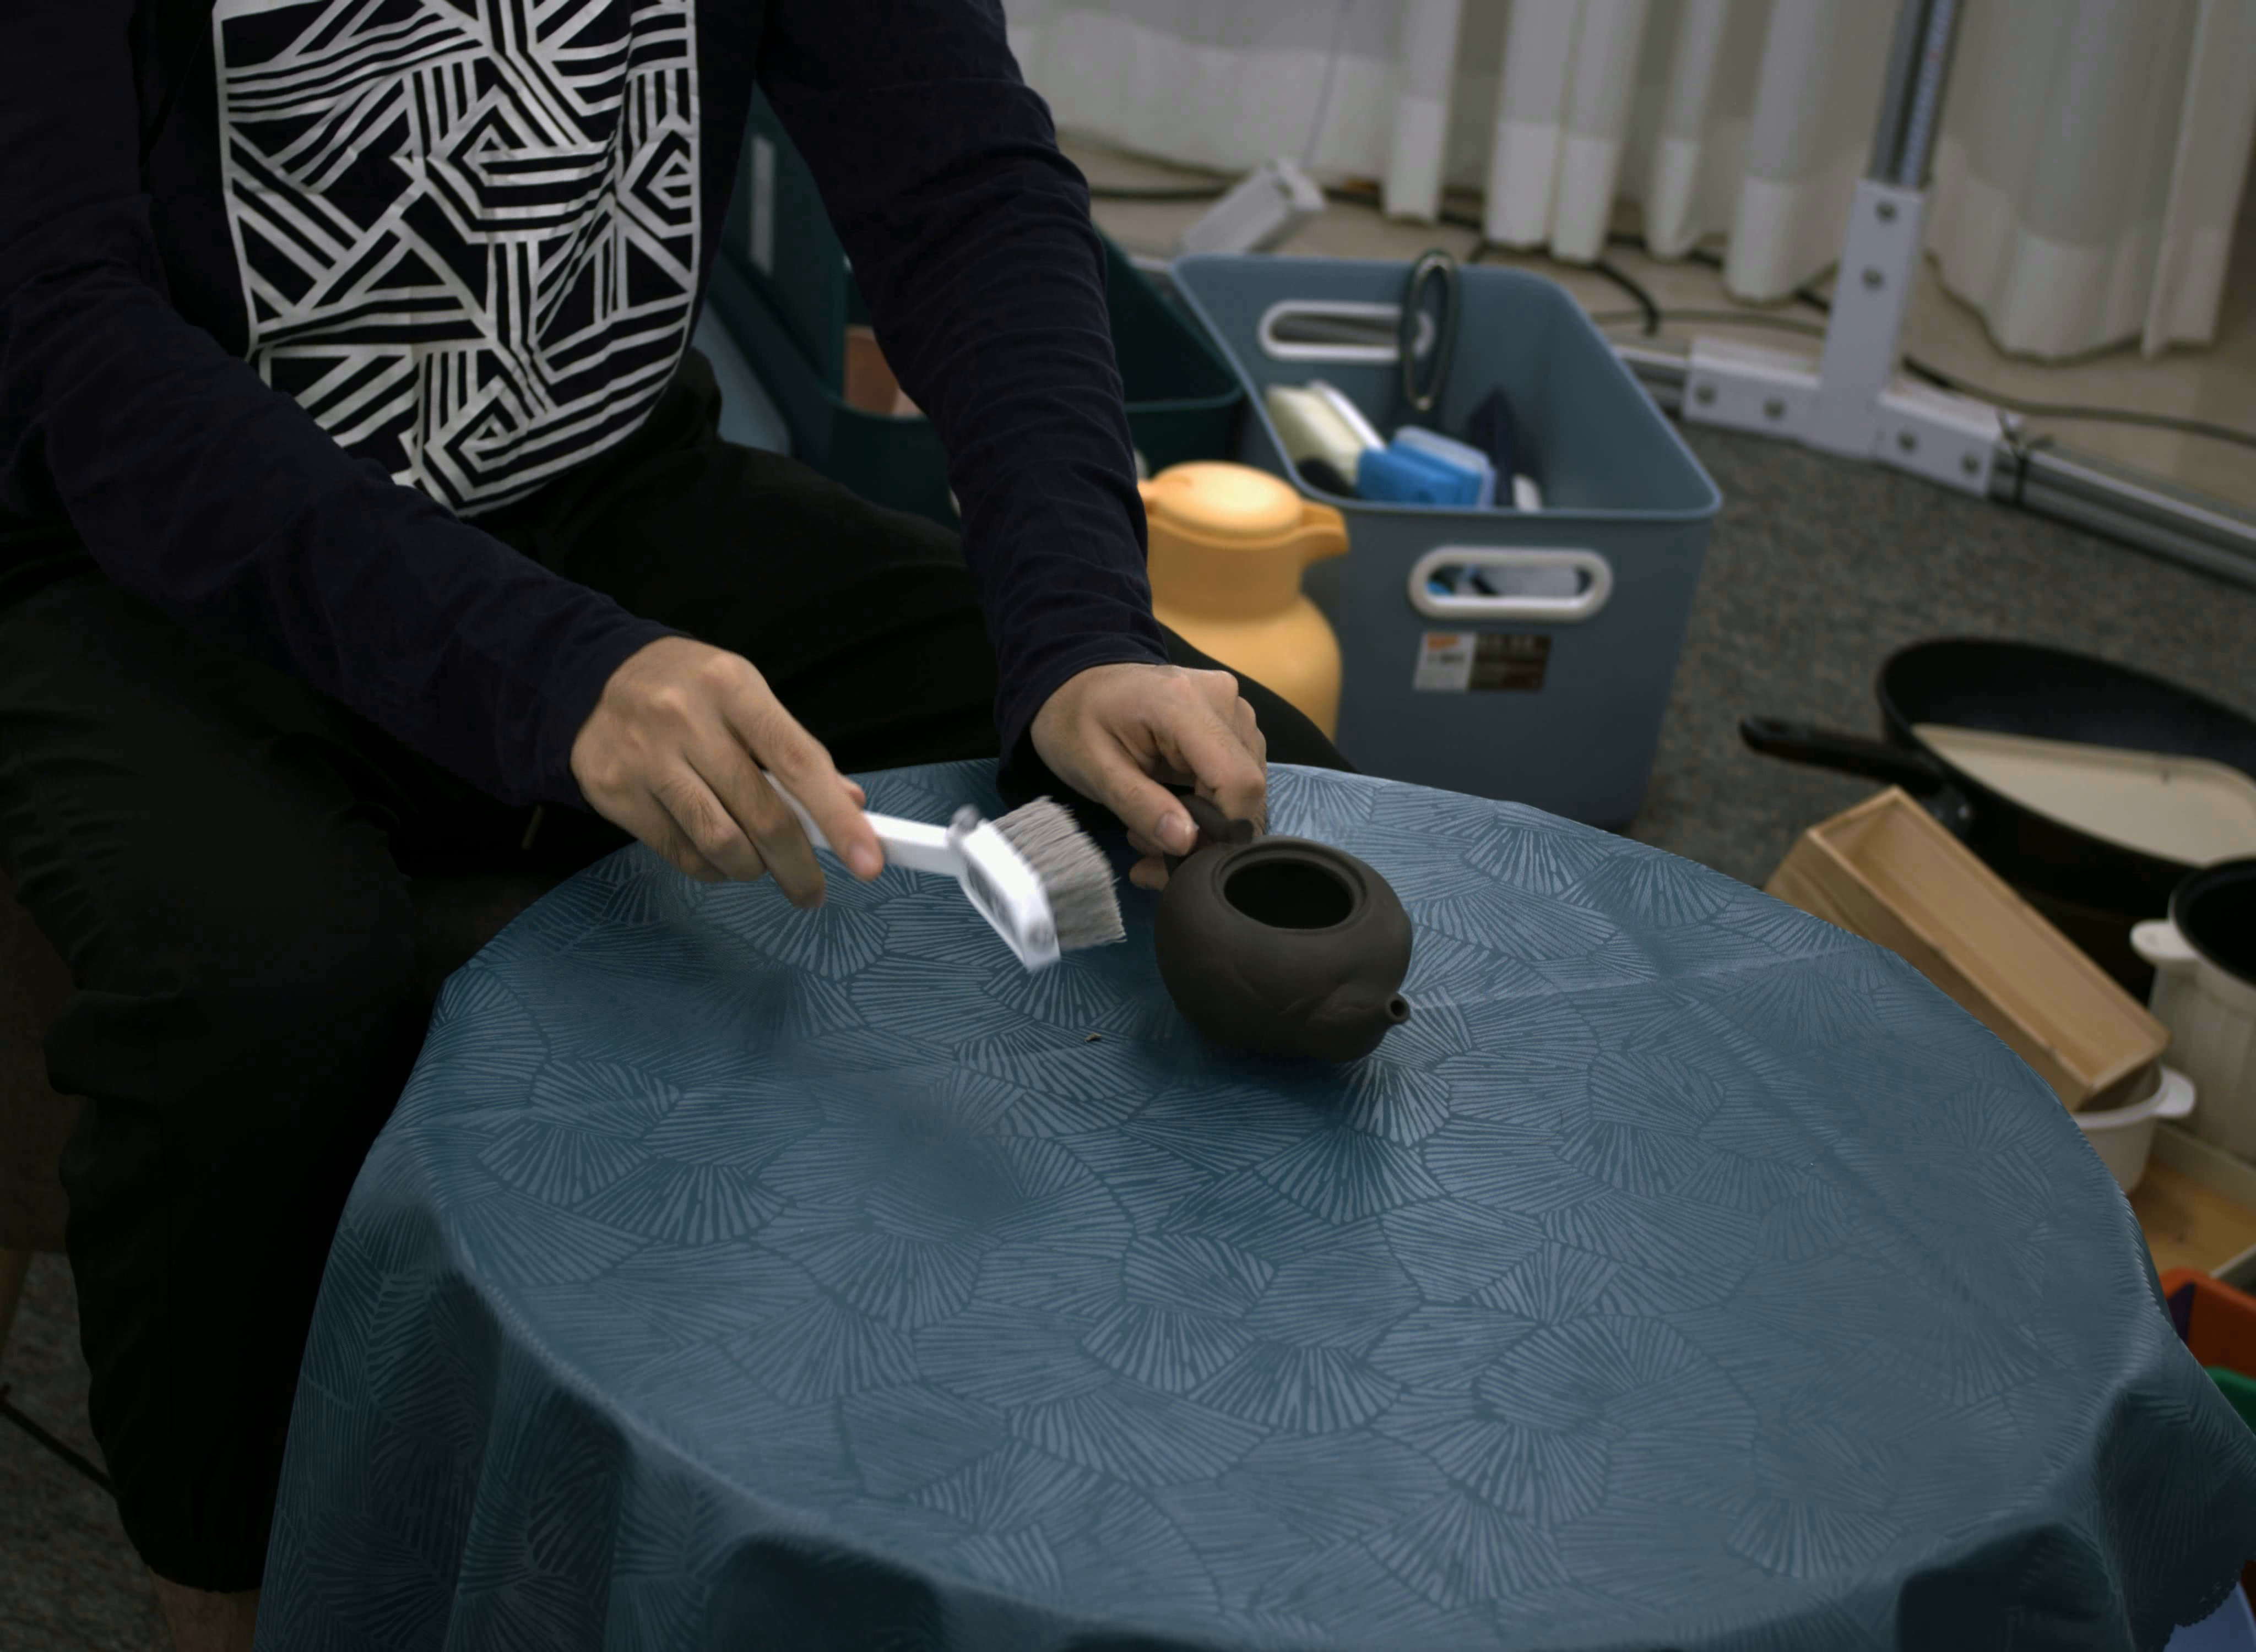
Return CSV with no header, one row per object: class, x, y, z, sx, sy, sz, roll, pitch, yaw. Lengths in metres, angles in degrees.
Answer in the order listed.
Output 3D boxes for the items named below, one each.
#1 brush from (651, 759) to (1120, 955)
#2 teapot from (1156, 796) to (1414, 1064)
brush,-0.086,0.000,1.886,0.050,0.034,0.245,-30,28,-29
teapot,0.054,0.041,1.906,0.092,0.064,0.156,-11,38,-28
